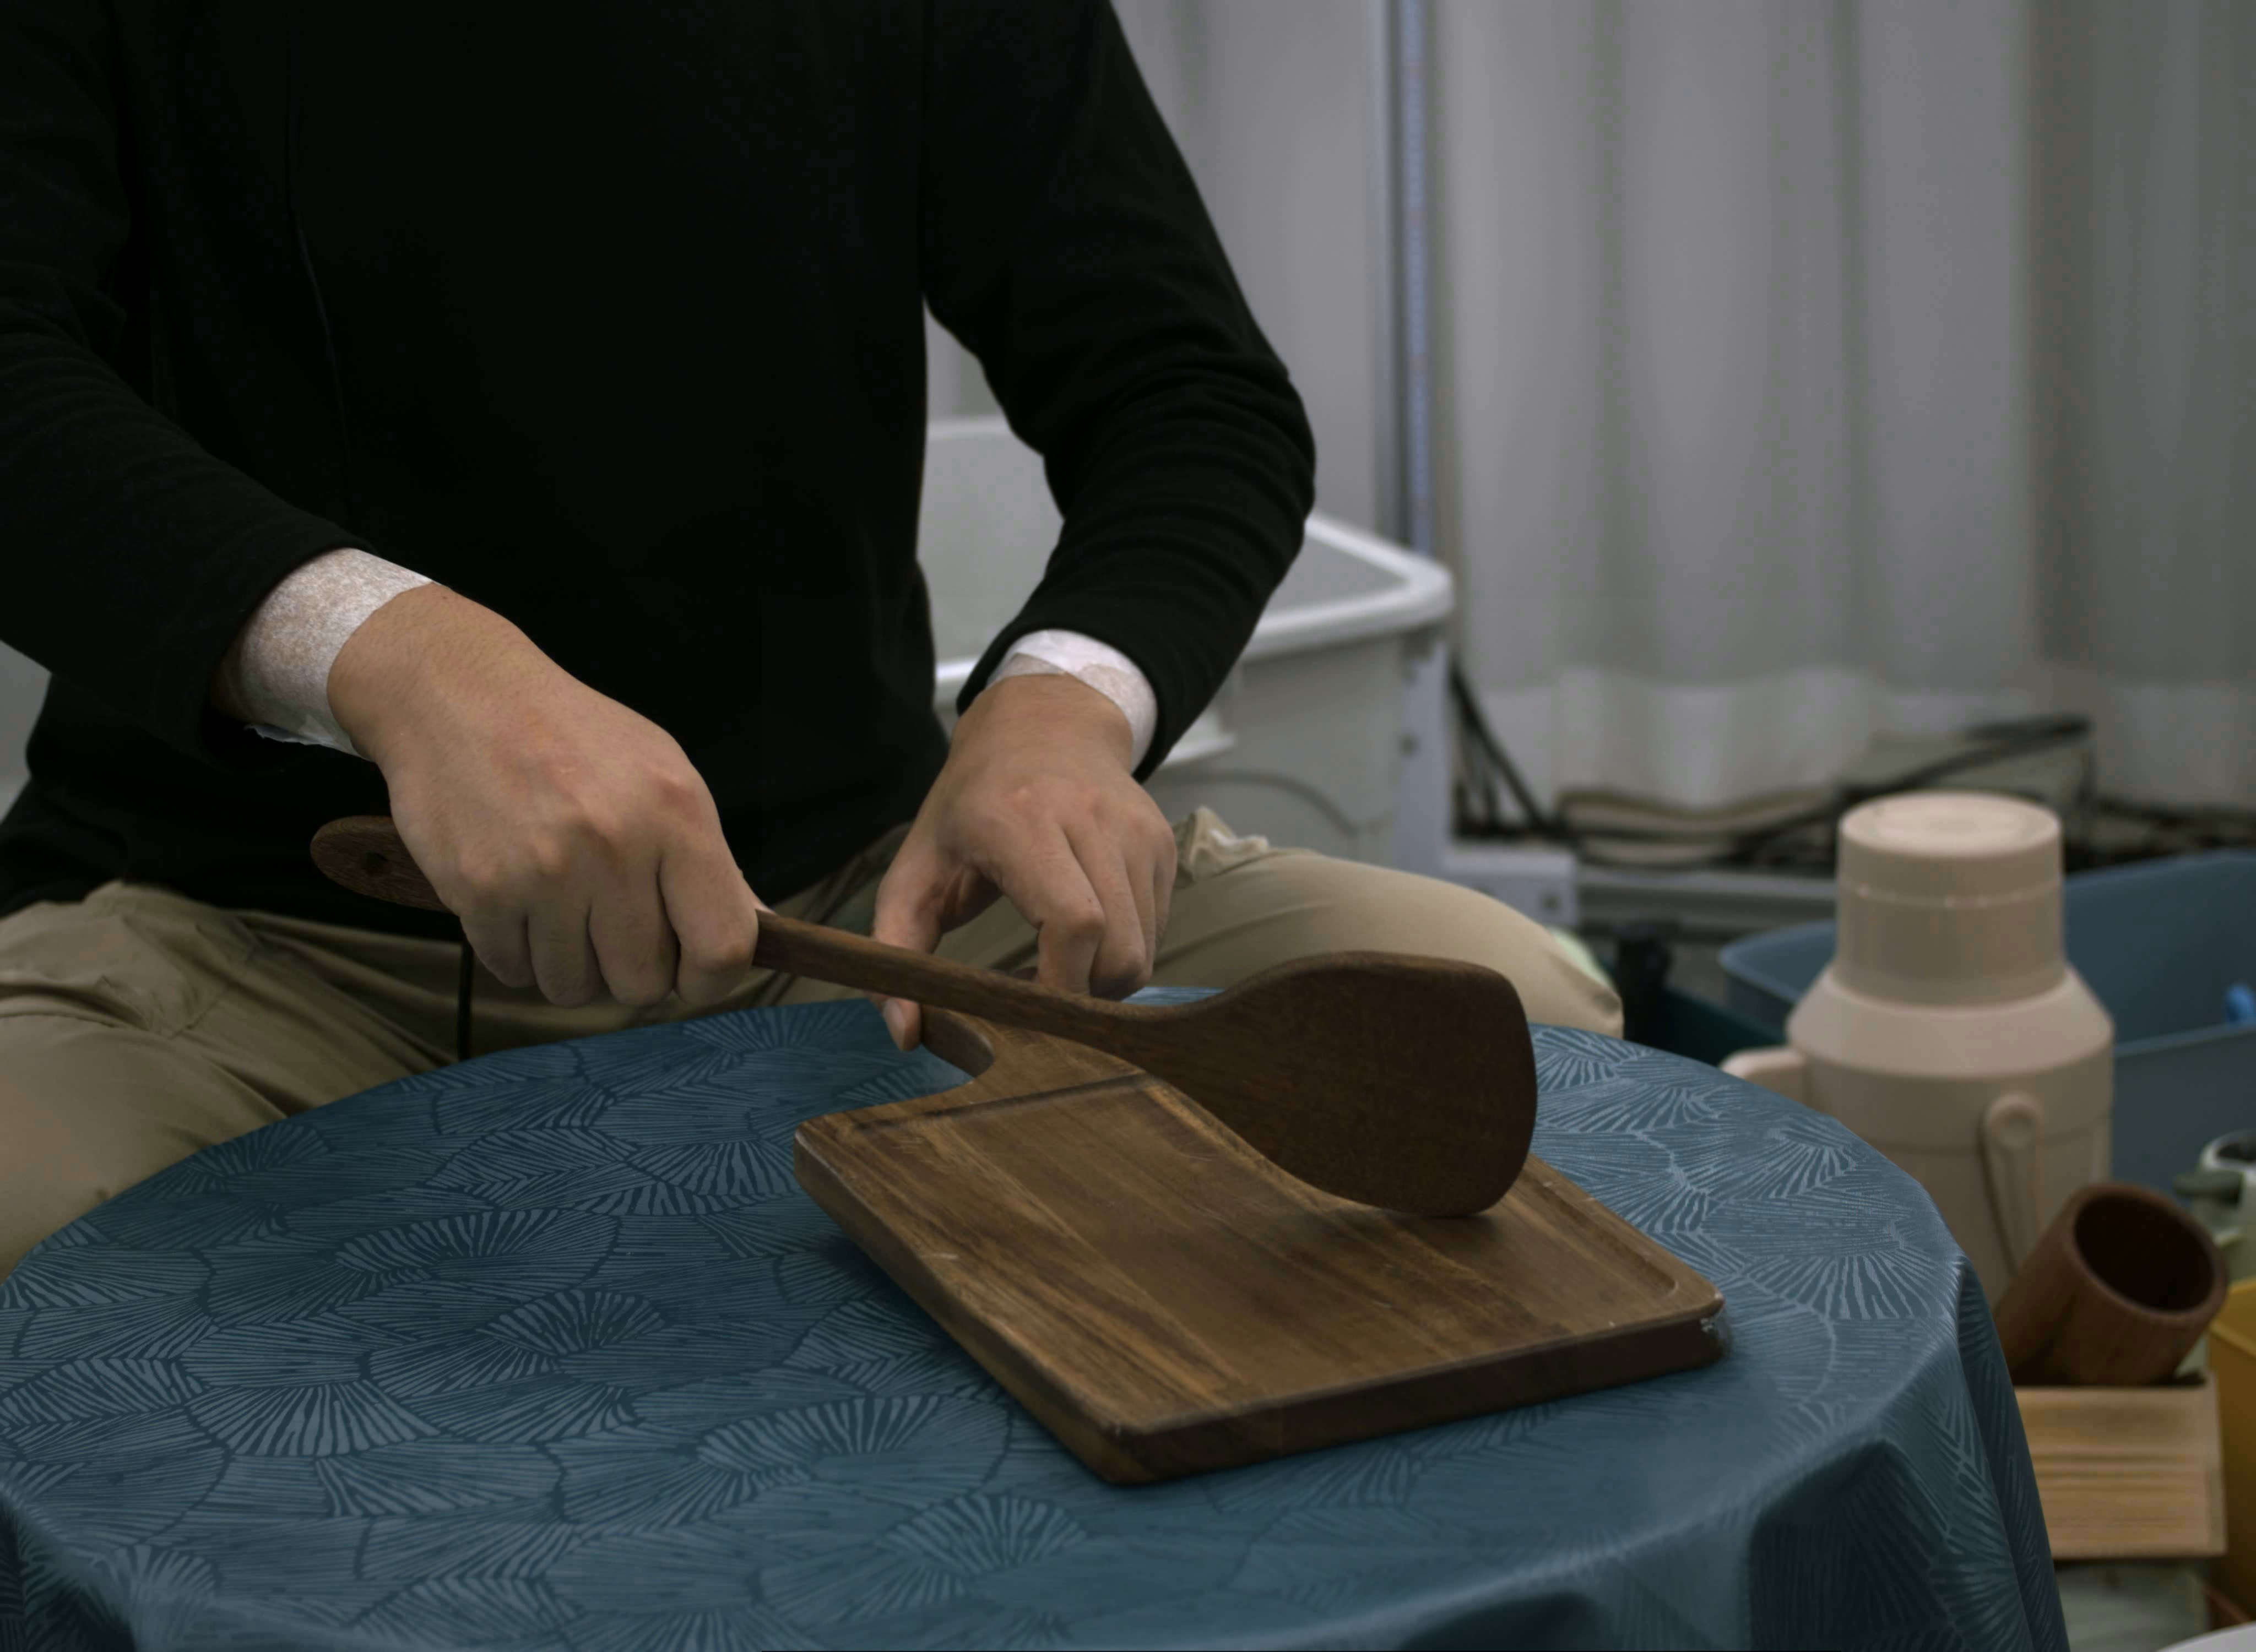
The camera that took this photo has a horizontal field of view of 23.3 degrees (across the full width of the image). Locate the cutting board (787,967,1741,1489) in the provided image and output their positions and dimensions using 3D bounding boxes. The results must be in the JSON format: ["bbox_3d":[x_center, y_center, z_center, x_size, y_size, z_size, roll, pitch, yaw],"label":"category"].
[{"bbox_3d":[0.014,0.106,1.654,0.200,0.023,0.355,-9,20,-23],"label":"cutting board"}]

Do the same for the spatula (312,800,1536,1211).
[{"bbox_3d":[-0.065,0.041,1.623,0.386,0.095,0.016,13,37,15],"label":"spatula"}]
